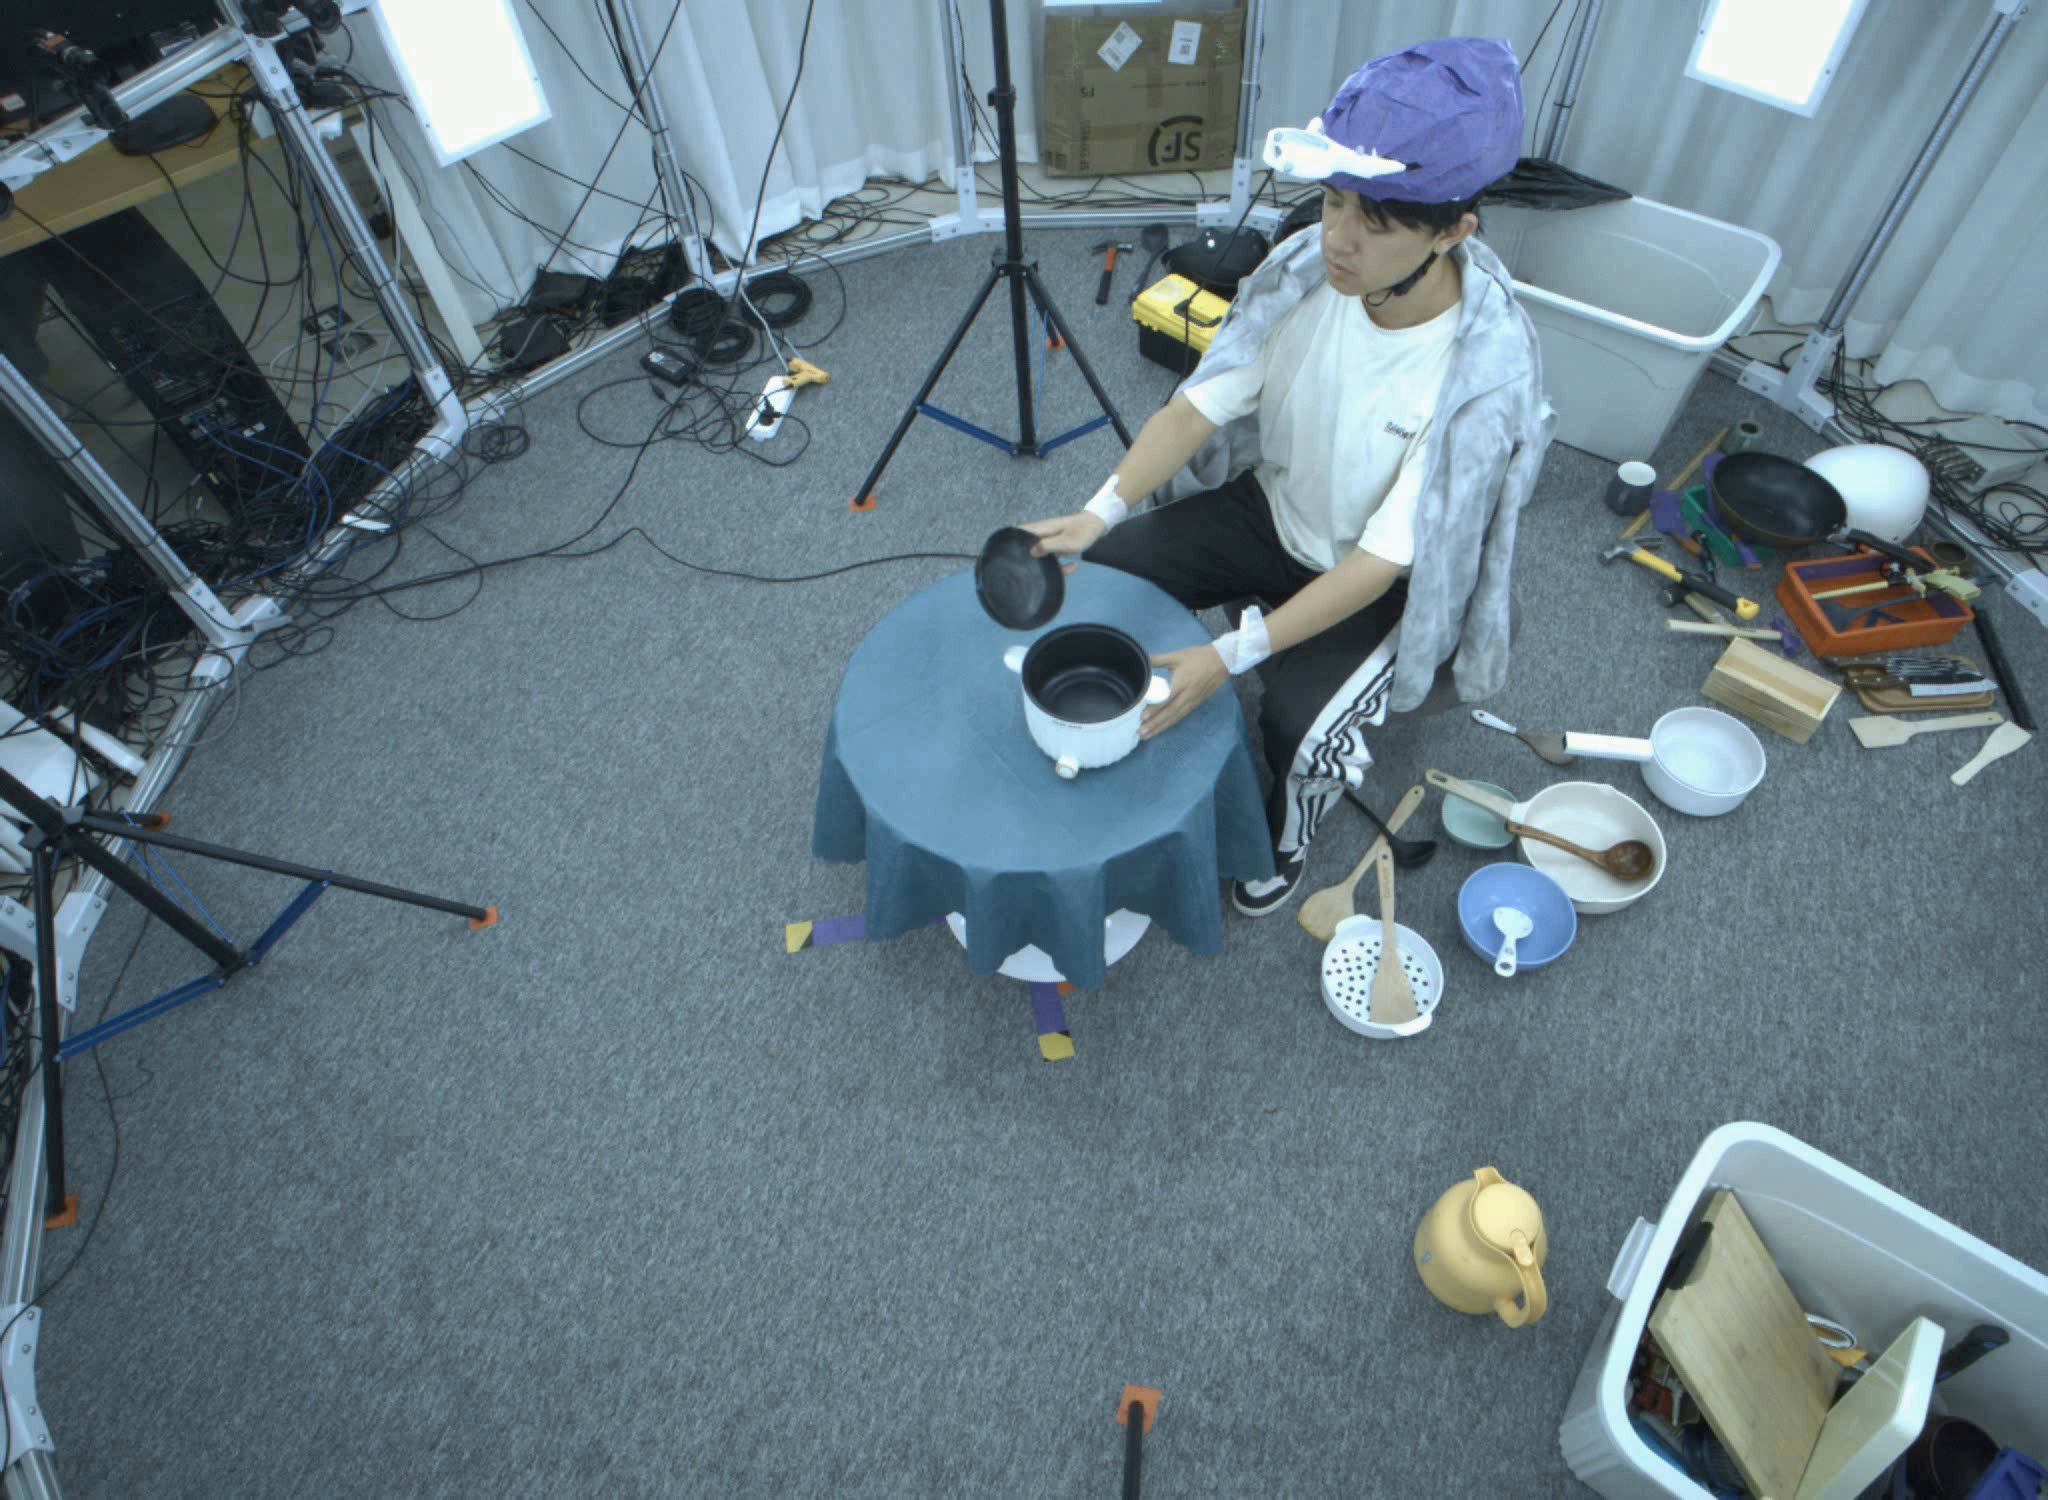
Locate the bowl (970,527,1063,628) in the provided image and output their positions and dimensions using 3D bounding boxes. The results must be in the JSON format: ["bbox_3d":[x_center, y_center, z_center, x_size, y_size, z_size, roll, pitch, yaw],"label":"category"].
[{"bbox_3d":[-0.021,-0.233,1.702,0.139,0.066,0.169,31,54,-21],"label":"bowl"}]

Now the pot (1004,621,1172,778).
[{"bbox_3d":[0.089,-0.067,1.749,0.238,0.144,0.190,13,53,12],"label":"pot"}]
